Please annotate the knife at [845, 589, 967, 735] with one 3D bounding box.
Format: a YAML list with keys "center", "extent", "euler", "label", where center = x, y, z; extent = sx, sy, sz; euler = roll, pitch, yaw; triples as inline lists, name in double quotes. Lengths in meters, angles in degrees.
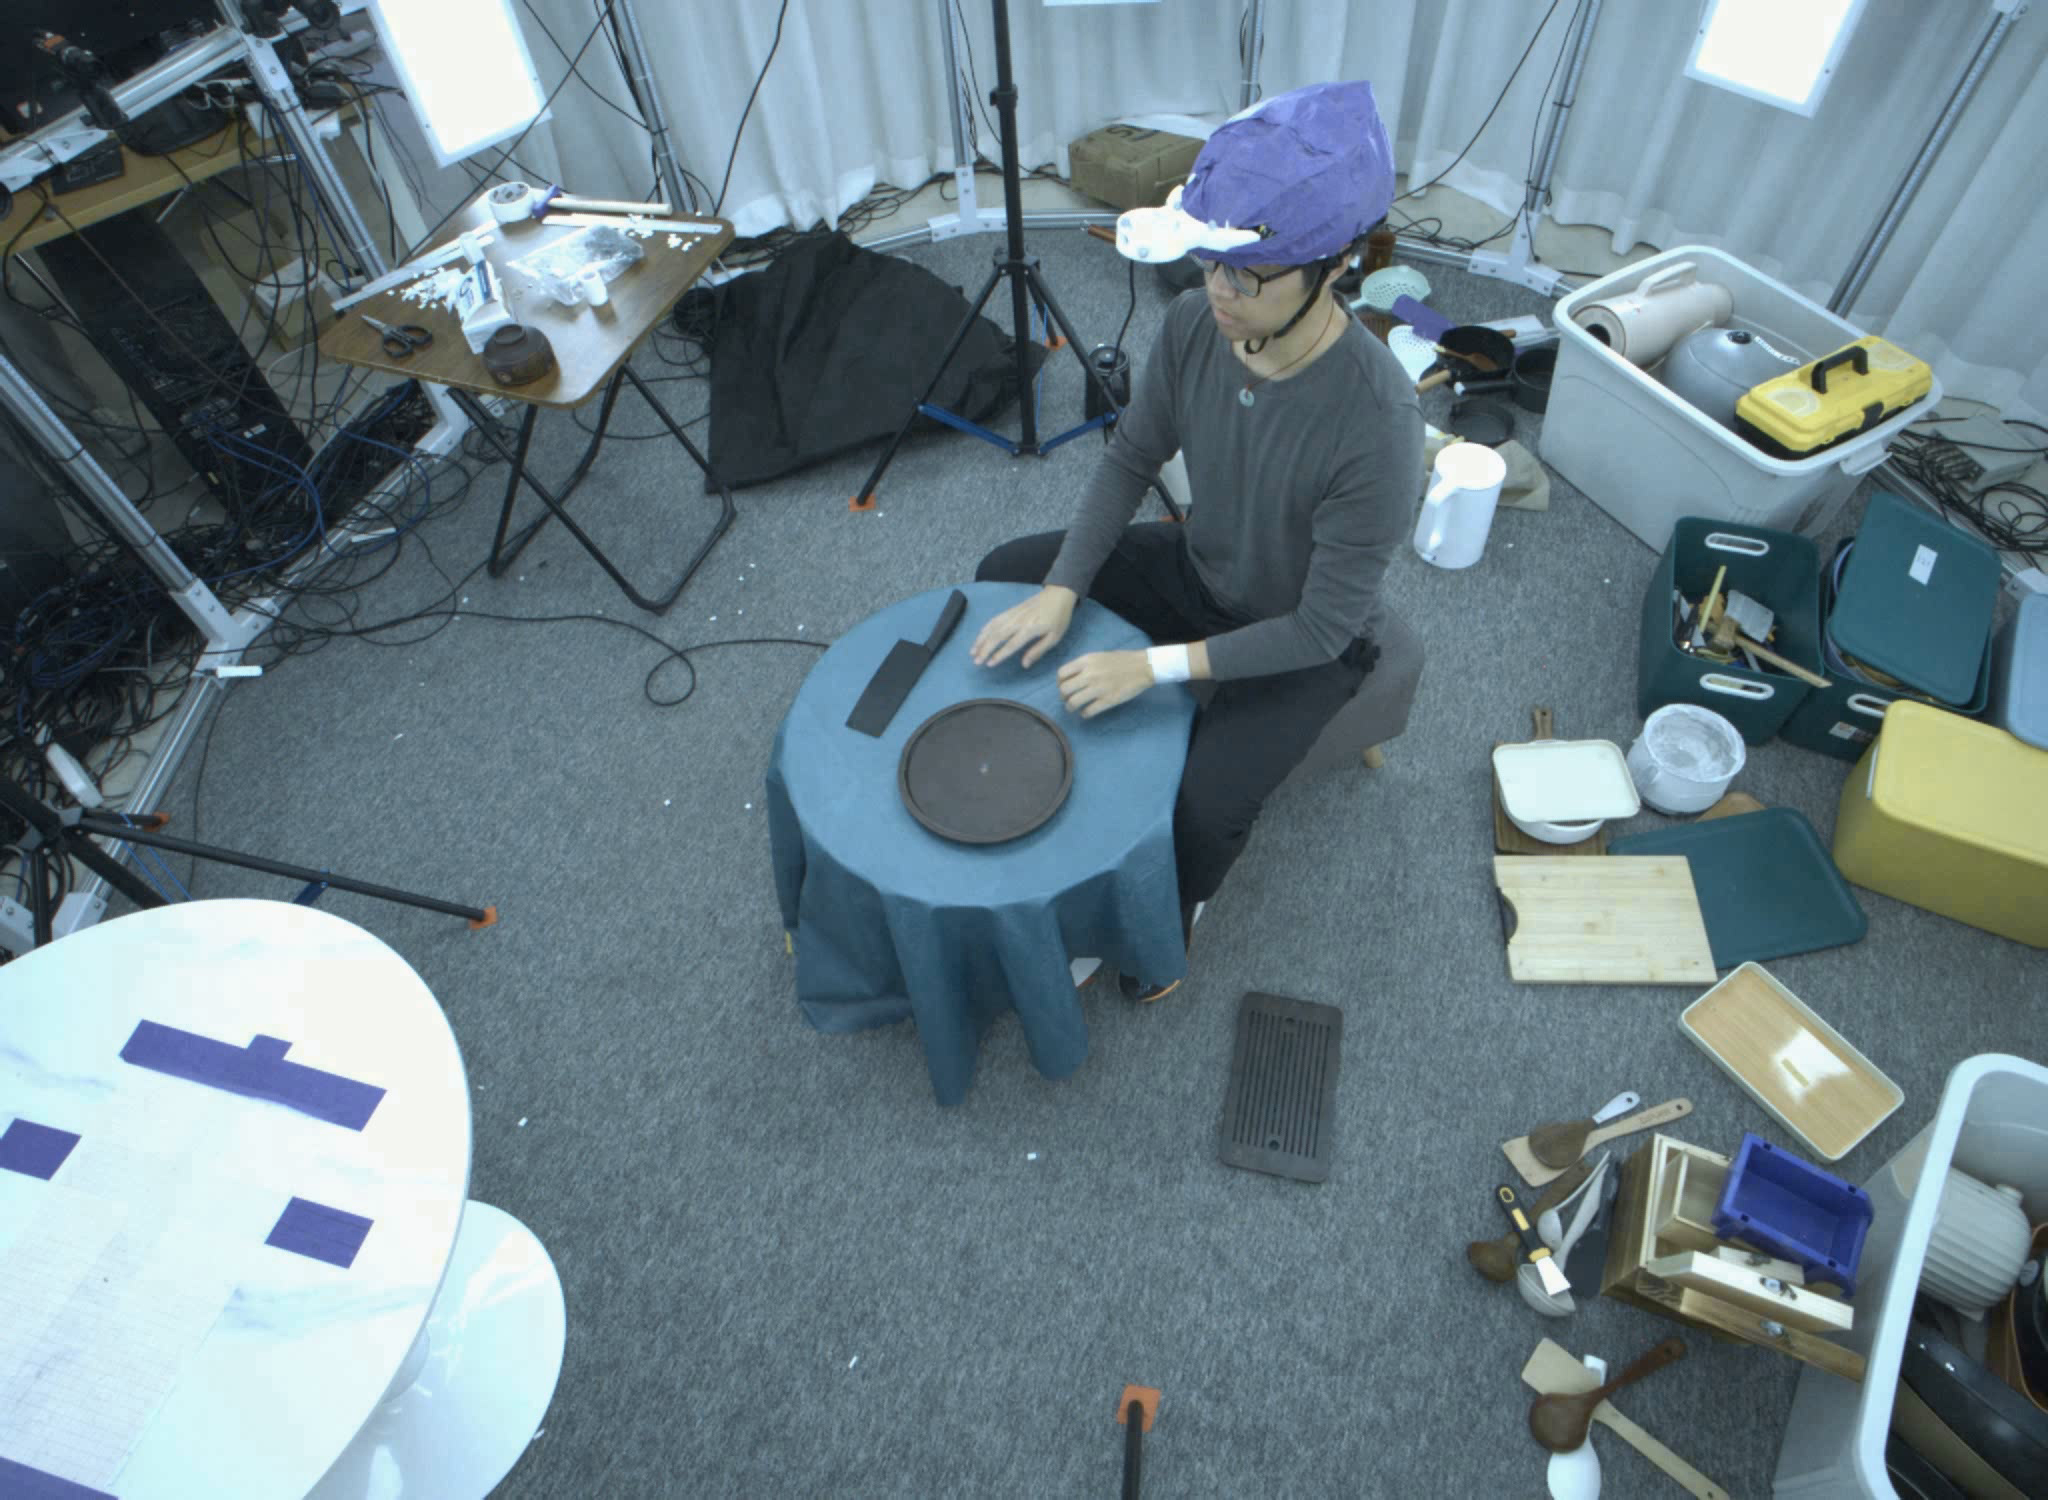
- center: [-0.176, -0.141, 1.892]
  extent: [0.080, 0.021, 0.303]
  euler: [24, 60, 19]
  label: "knife"

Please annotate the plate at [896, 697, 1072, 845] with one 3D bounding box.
- center: [-0.057, 0.028, 1.762]
  extent: [0.254, 0.029, 0.252]
  euler: [-1, 55, 2]
  label: "plate"
